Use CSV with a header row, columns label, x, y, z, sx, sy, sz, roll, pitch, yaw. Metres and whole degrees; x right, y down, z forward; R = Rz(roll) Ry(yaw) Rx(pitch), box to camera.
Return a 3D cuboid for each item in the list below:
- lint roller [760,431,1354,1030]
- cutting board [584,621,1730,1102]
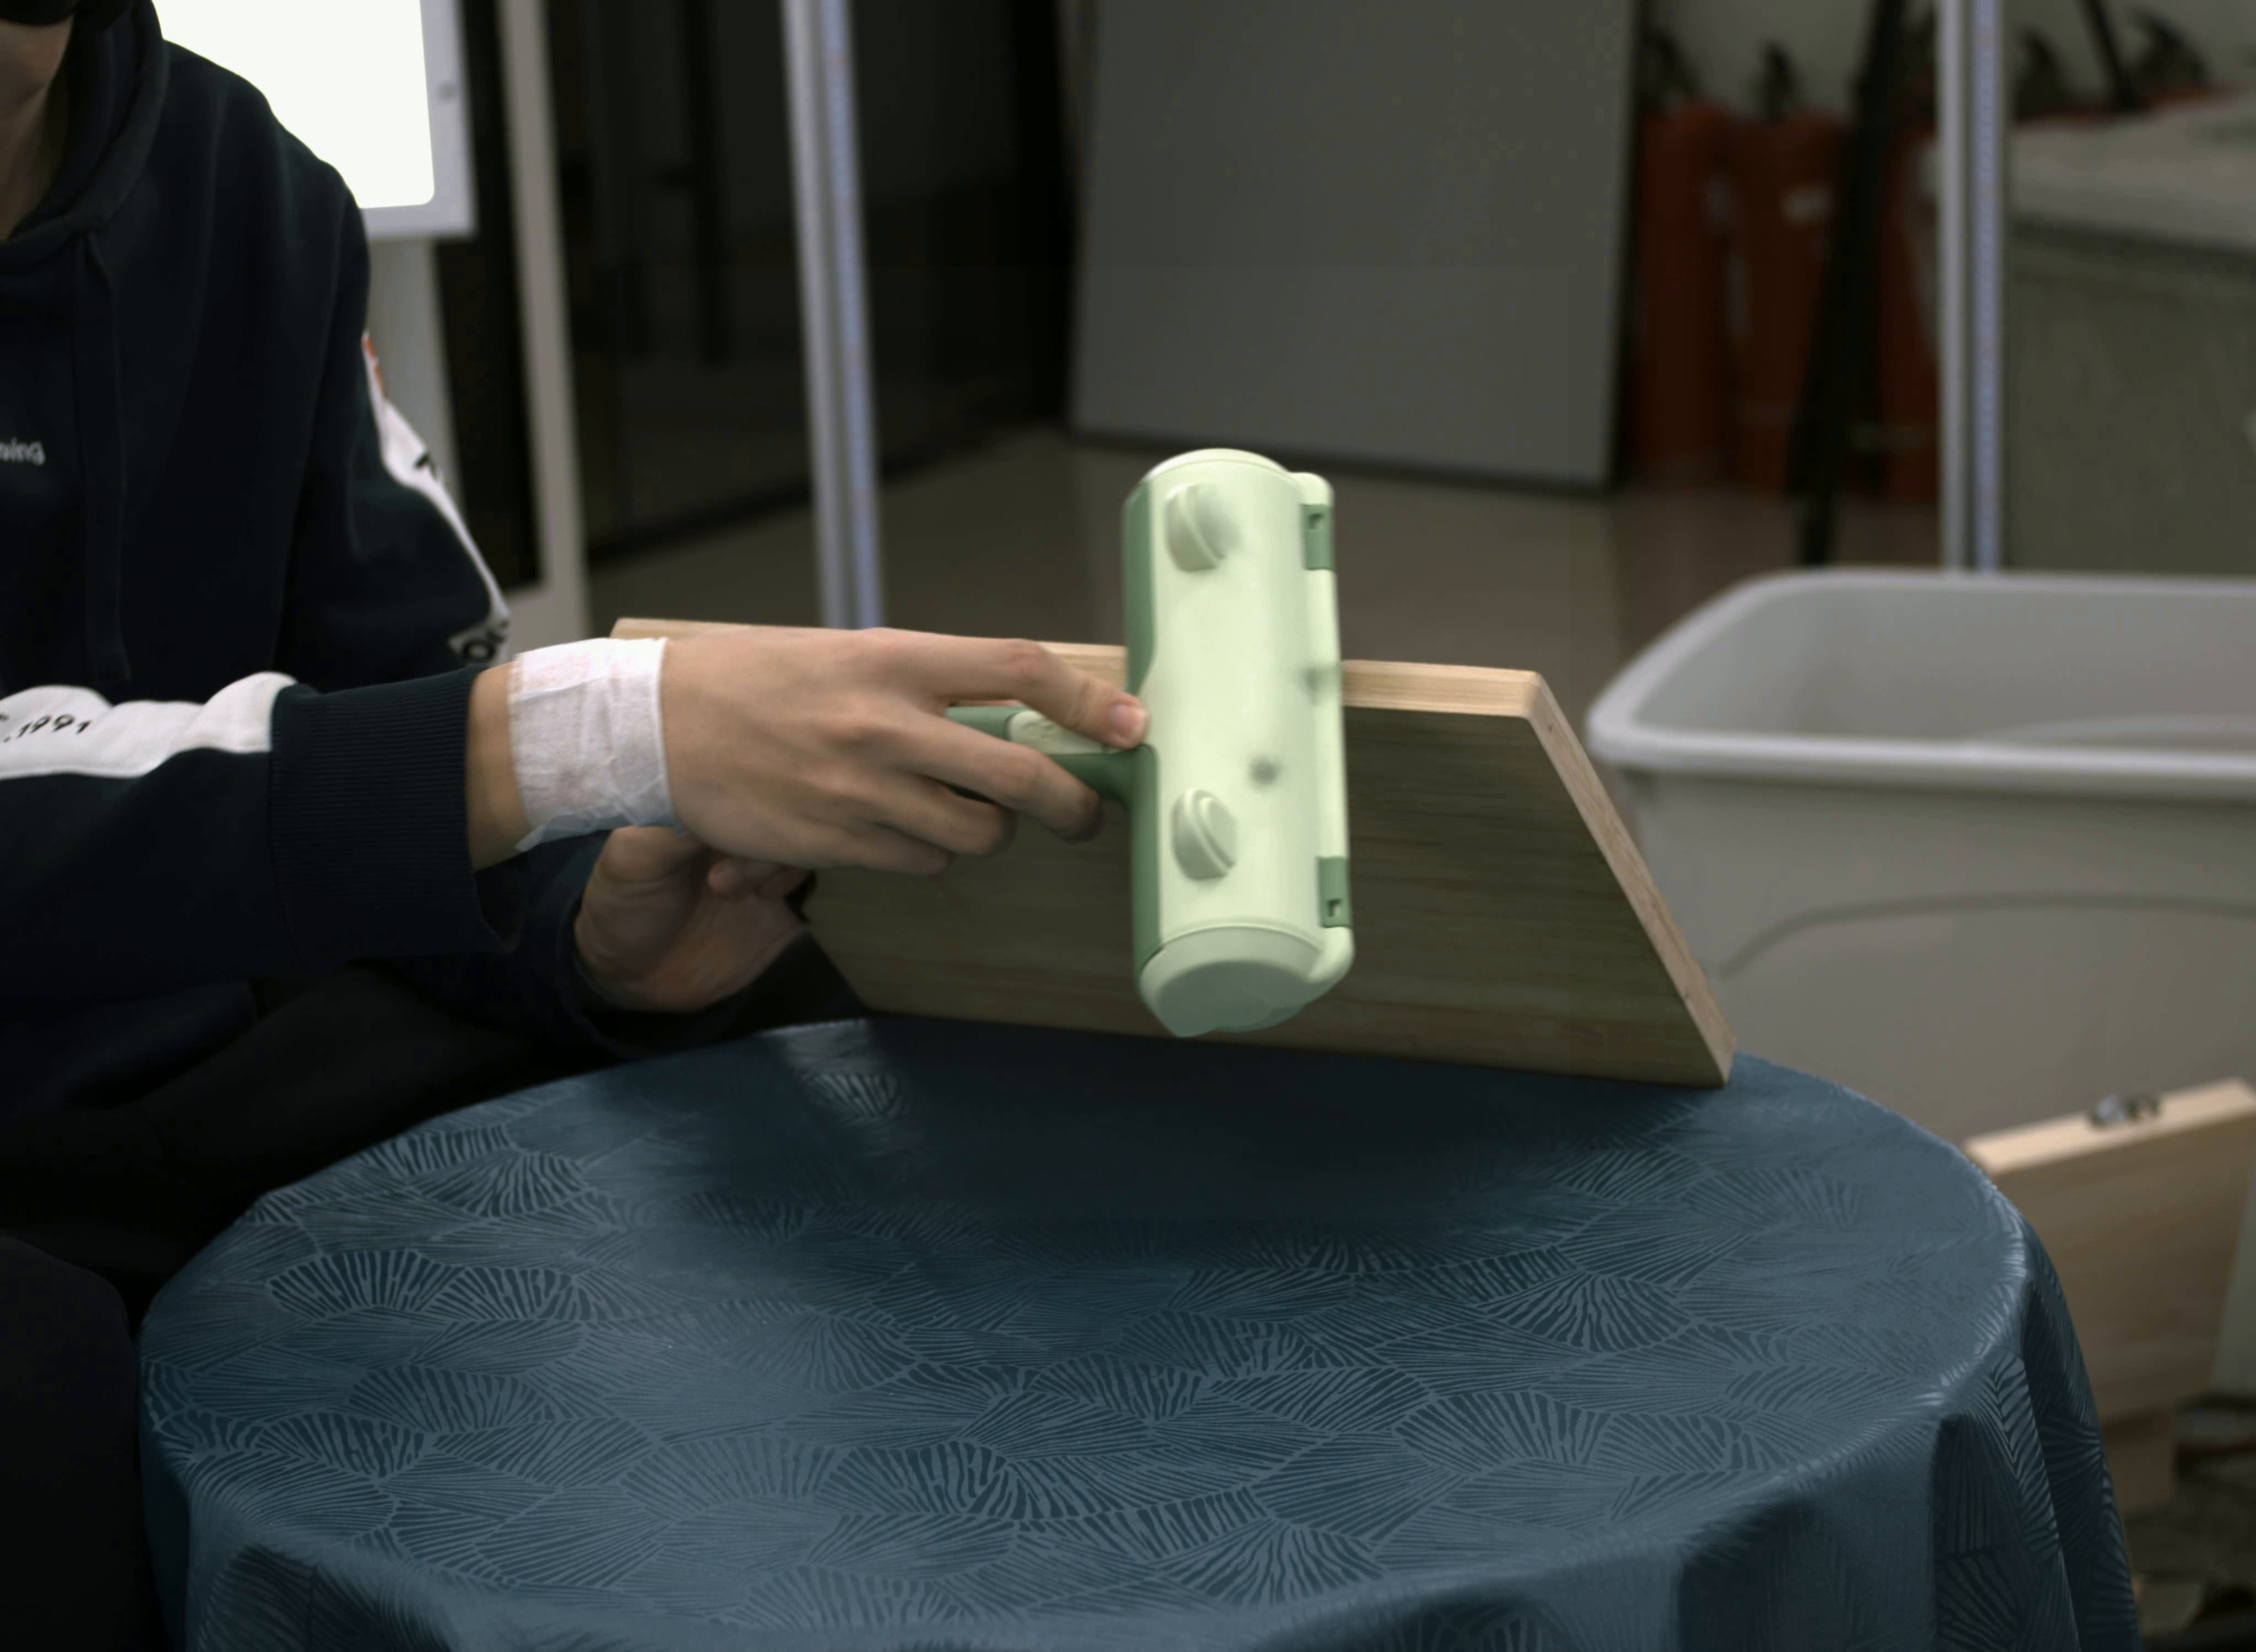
label,x,y,z,sx,sy,sz,roll,pitch,yaw
lint roller,-0.024,-0.035,1.654,0.181,0.082,0.200,-1,55,1
cutting board,0.011,0.012,1.831,0.349,0.249,0.024,4,59,27
